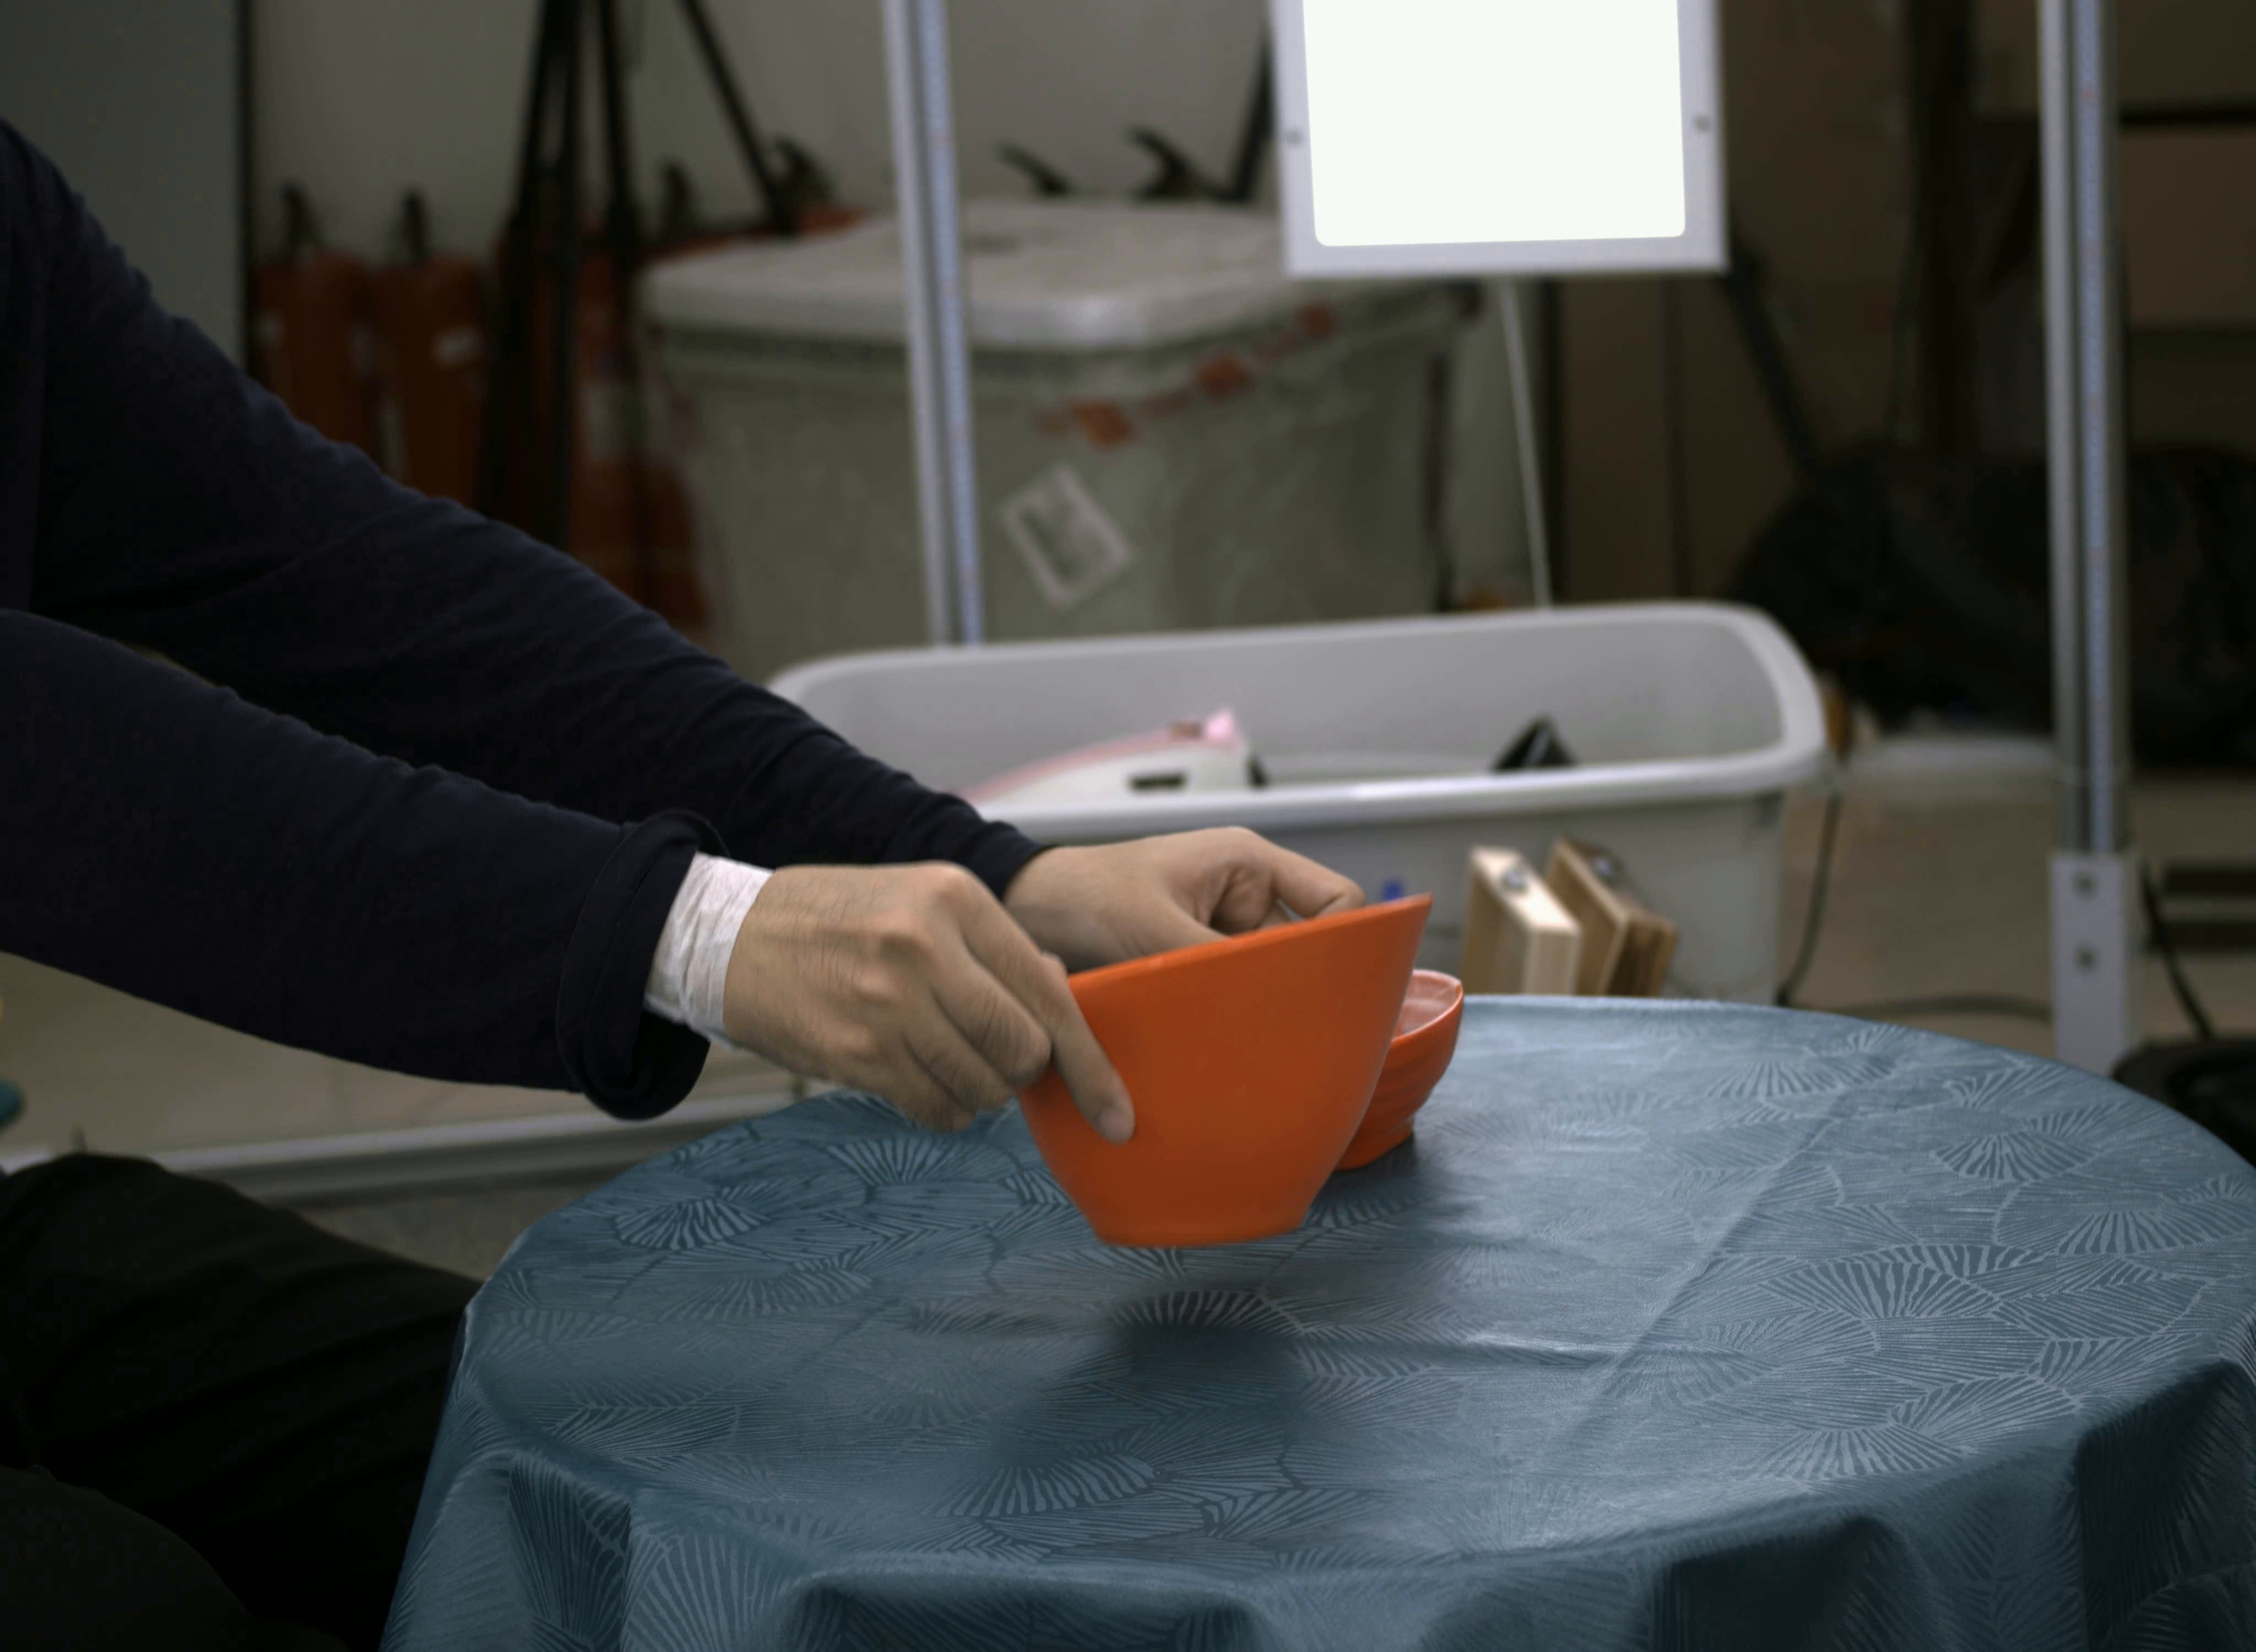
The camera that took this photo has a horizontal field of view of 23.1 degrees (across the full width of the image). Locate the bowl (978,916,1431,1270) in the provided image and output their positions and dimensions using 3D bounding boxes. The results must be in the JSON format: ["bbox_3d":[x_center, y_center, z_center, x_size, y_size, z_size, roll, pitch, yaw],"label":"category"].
[{"bbox_3d":[0.028,0.085,1.760,0.147,0.105,0.148,-5,4,-1],"label":"bowl"}]

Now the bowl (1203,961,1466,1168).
[{"bbox_3d":[0.063,0.086,1.935,0.118,0.051,0.119,-4,15,0],"label":"bowl"}]
